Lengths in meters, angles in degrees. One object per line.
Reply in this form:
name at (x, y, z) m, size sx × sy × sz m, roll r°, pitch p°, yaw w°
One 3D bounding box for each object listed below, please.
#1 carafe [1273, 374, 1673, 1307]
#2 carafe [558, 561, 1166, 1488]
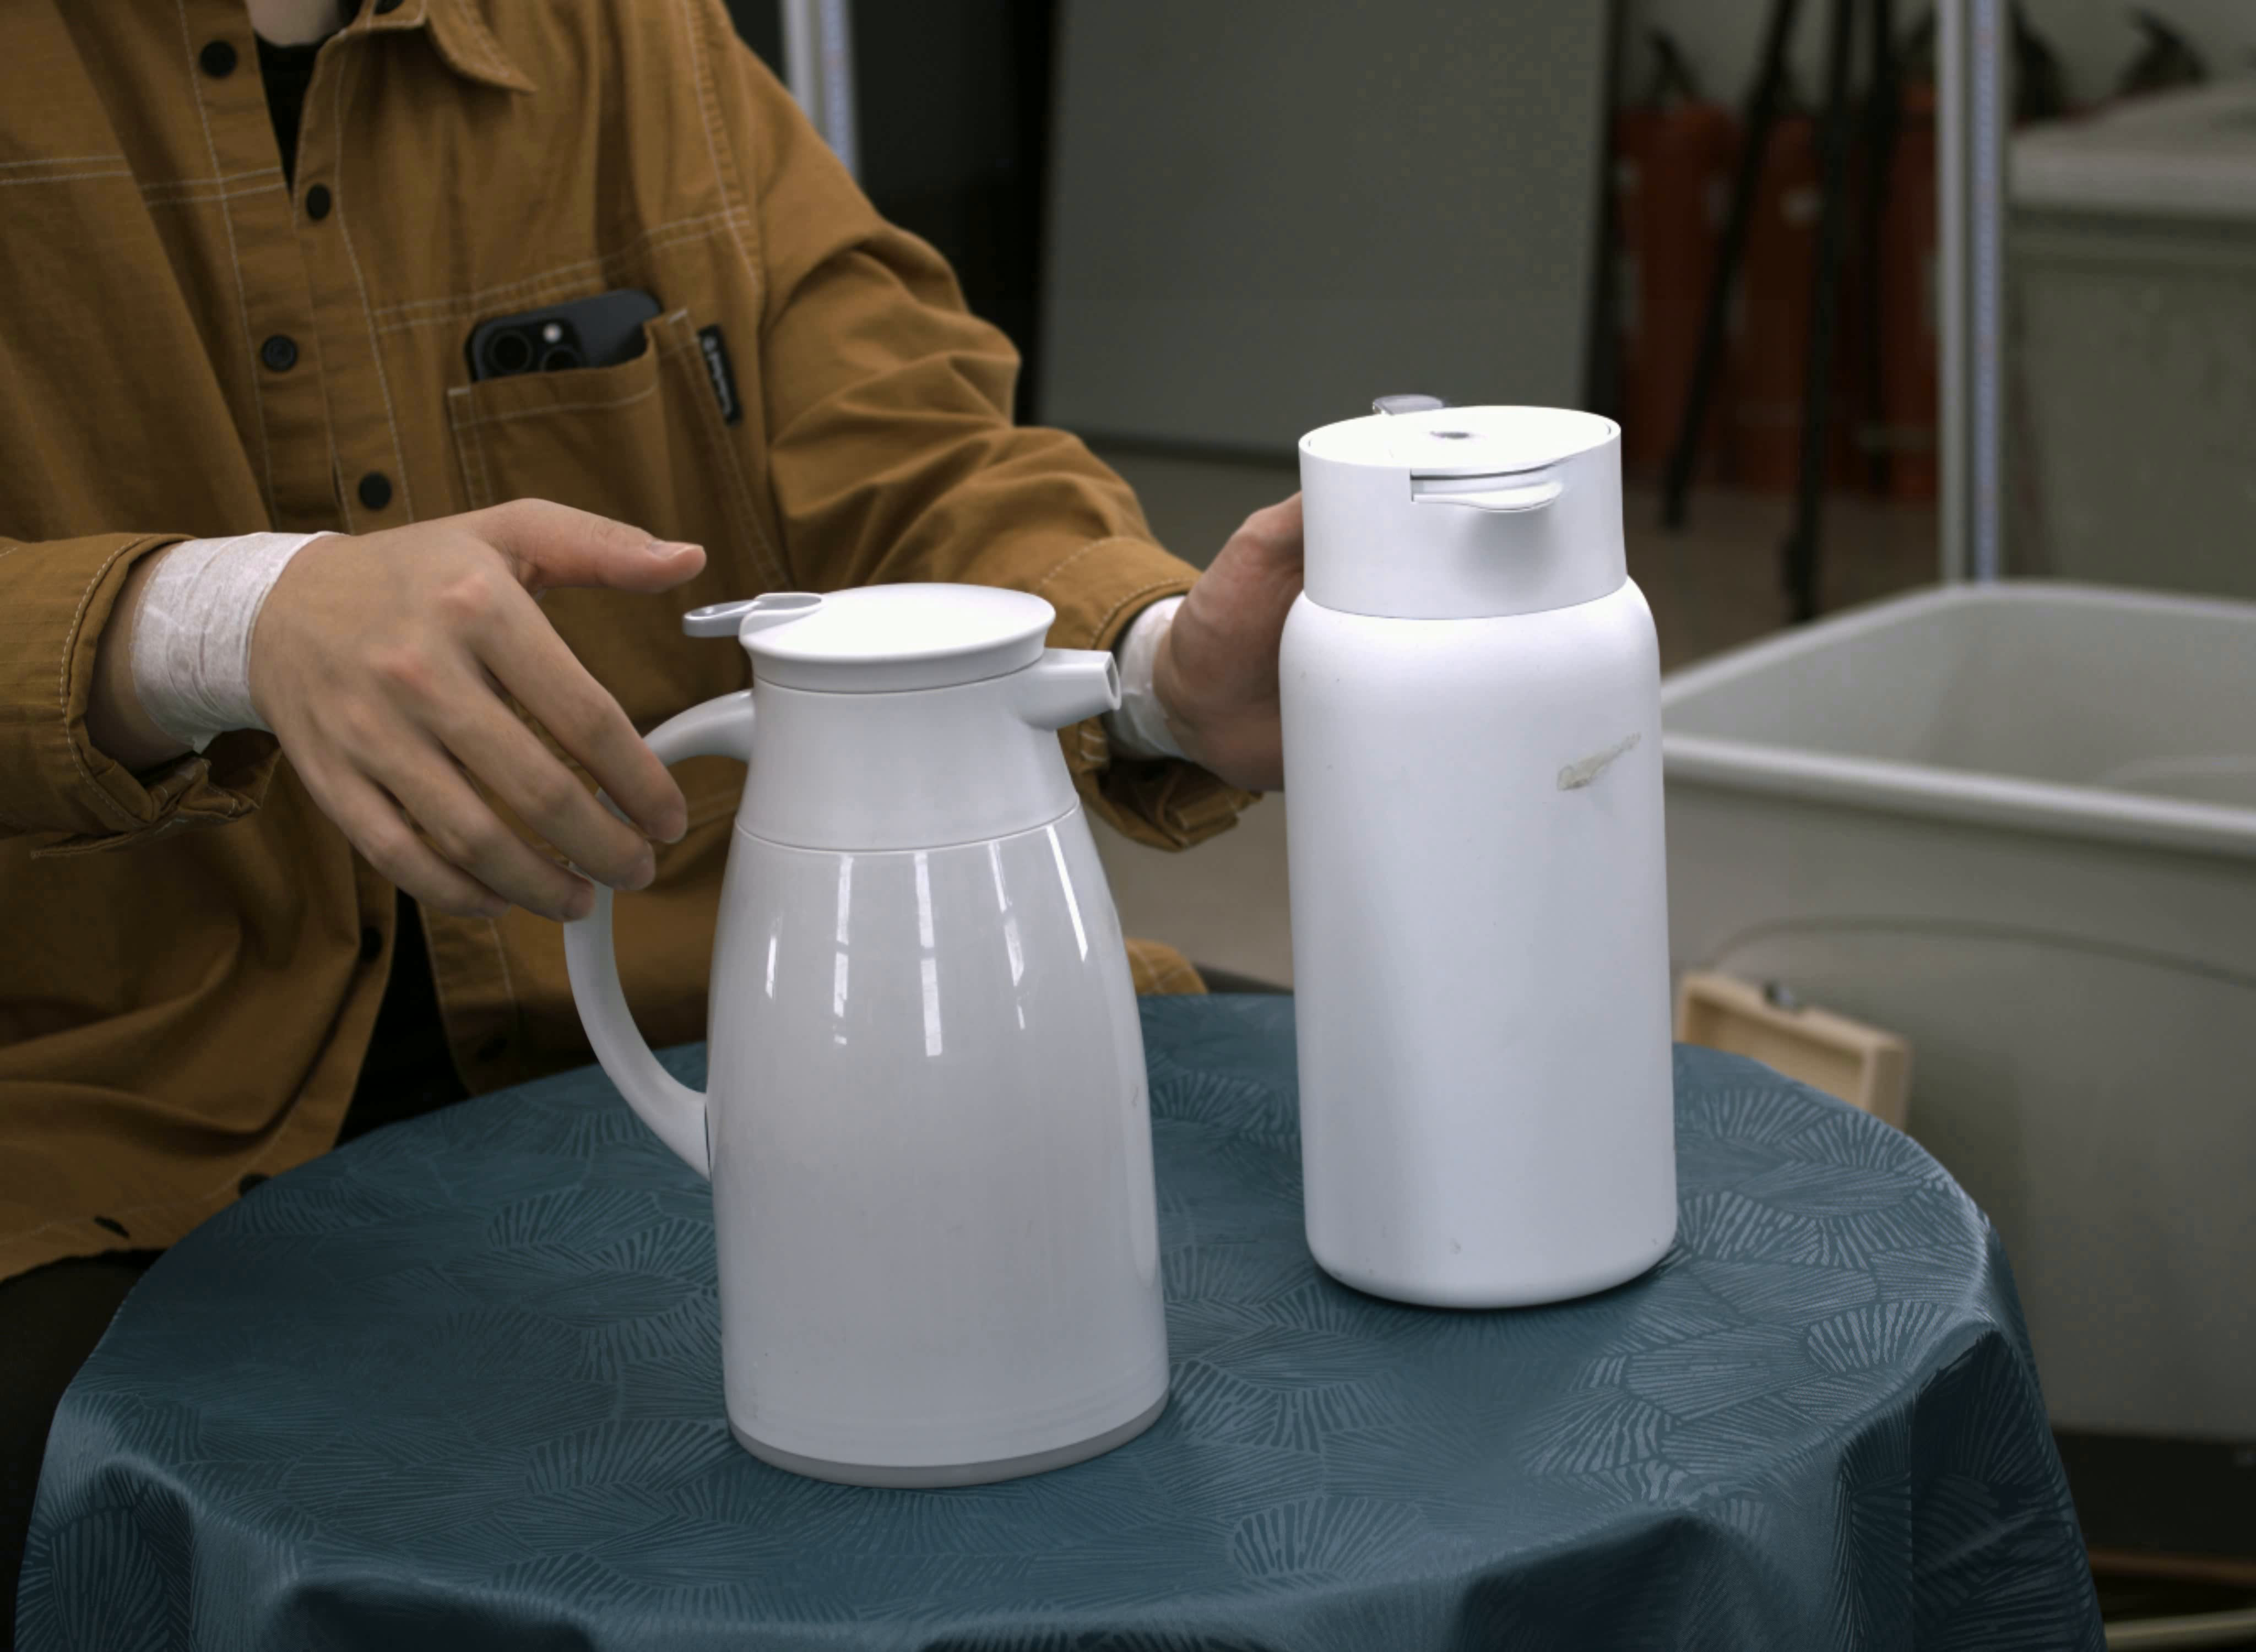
carafe at (0.100, 0.001, 1.669) m, size 0.121 × 0.272 × 0.174 m, roll -8°, pitch 14°, yaw -11°
carafe at (-0.080, 0.051, 1.559) m, size 0.166 × 0.251 × 0.132 m, roll -3°, pitch 13°, yaw 8°
